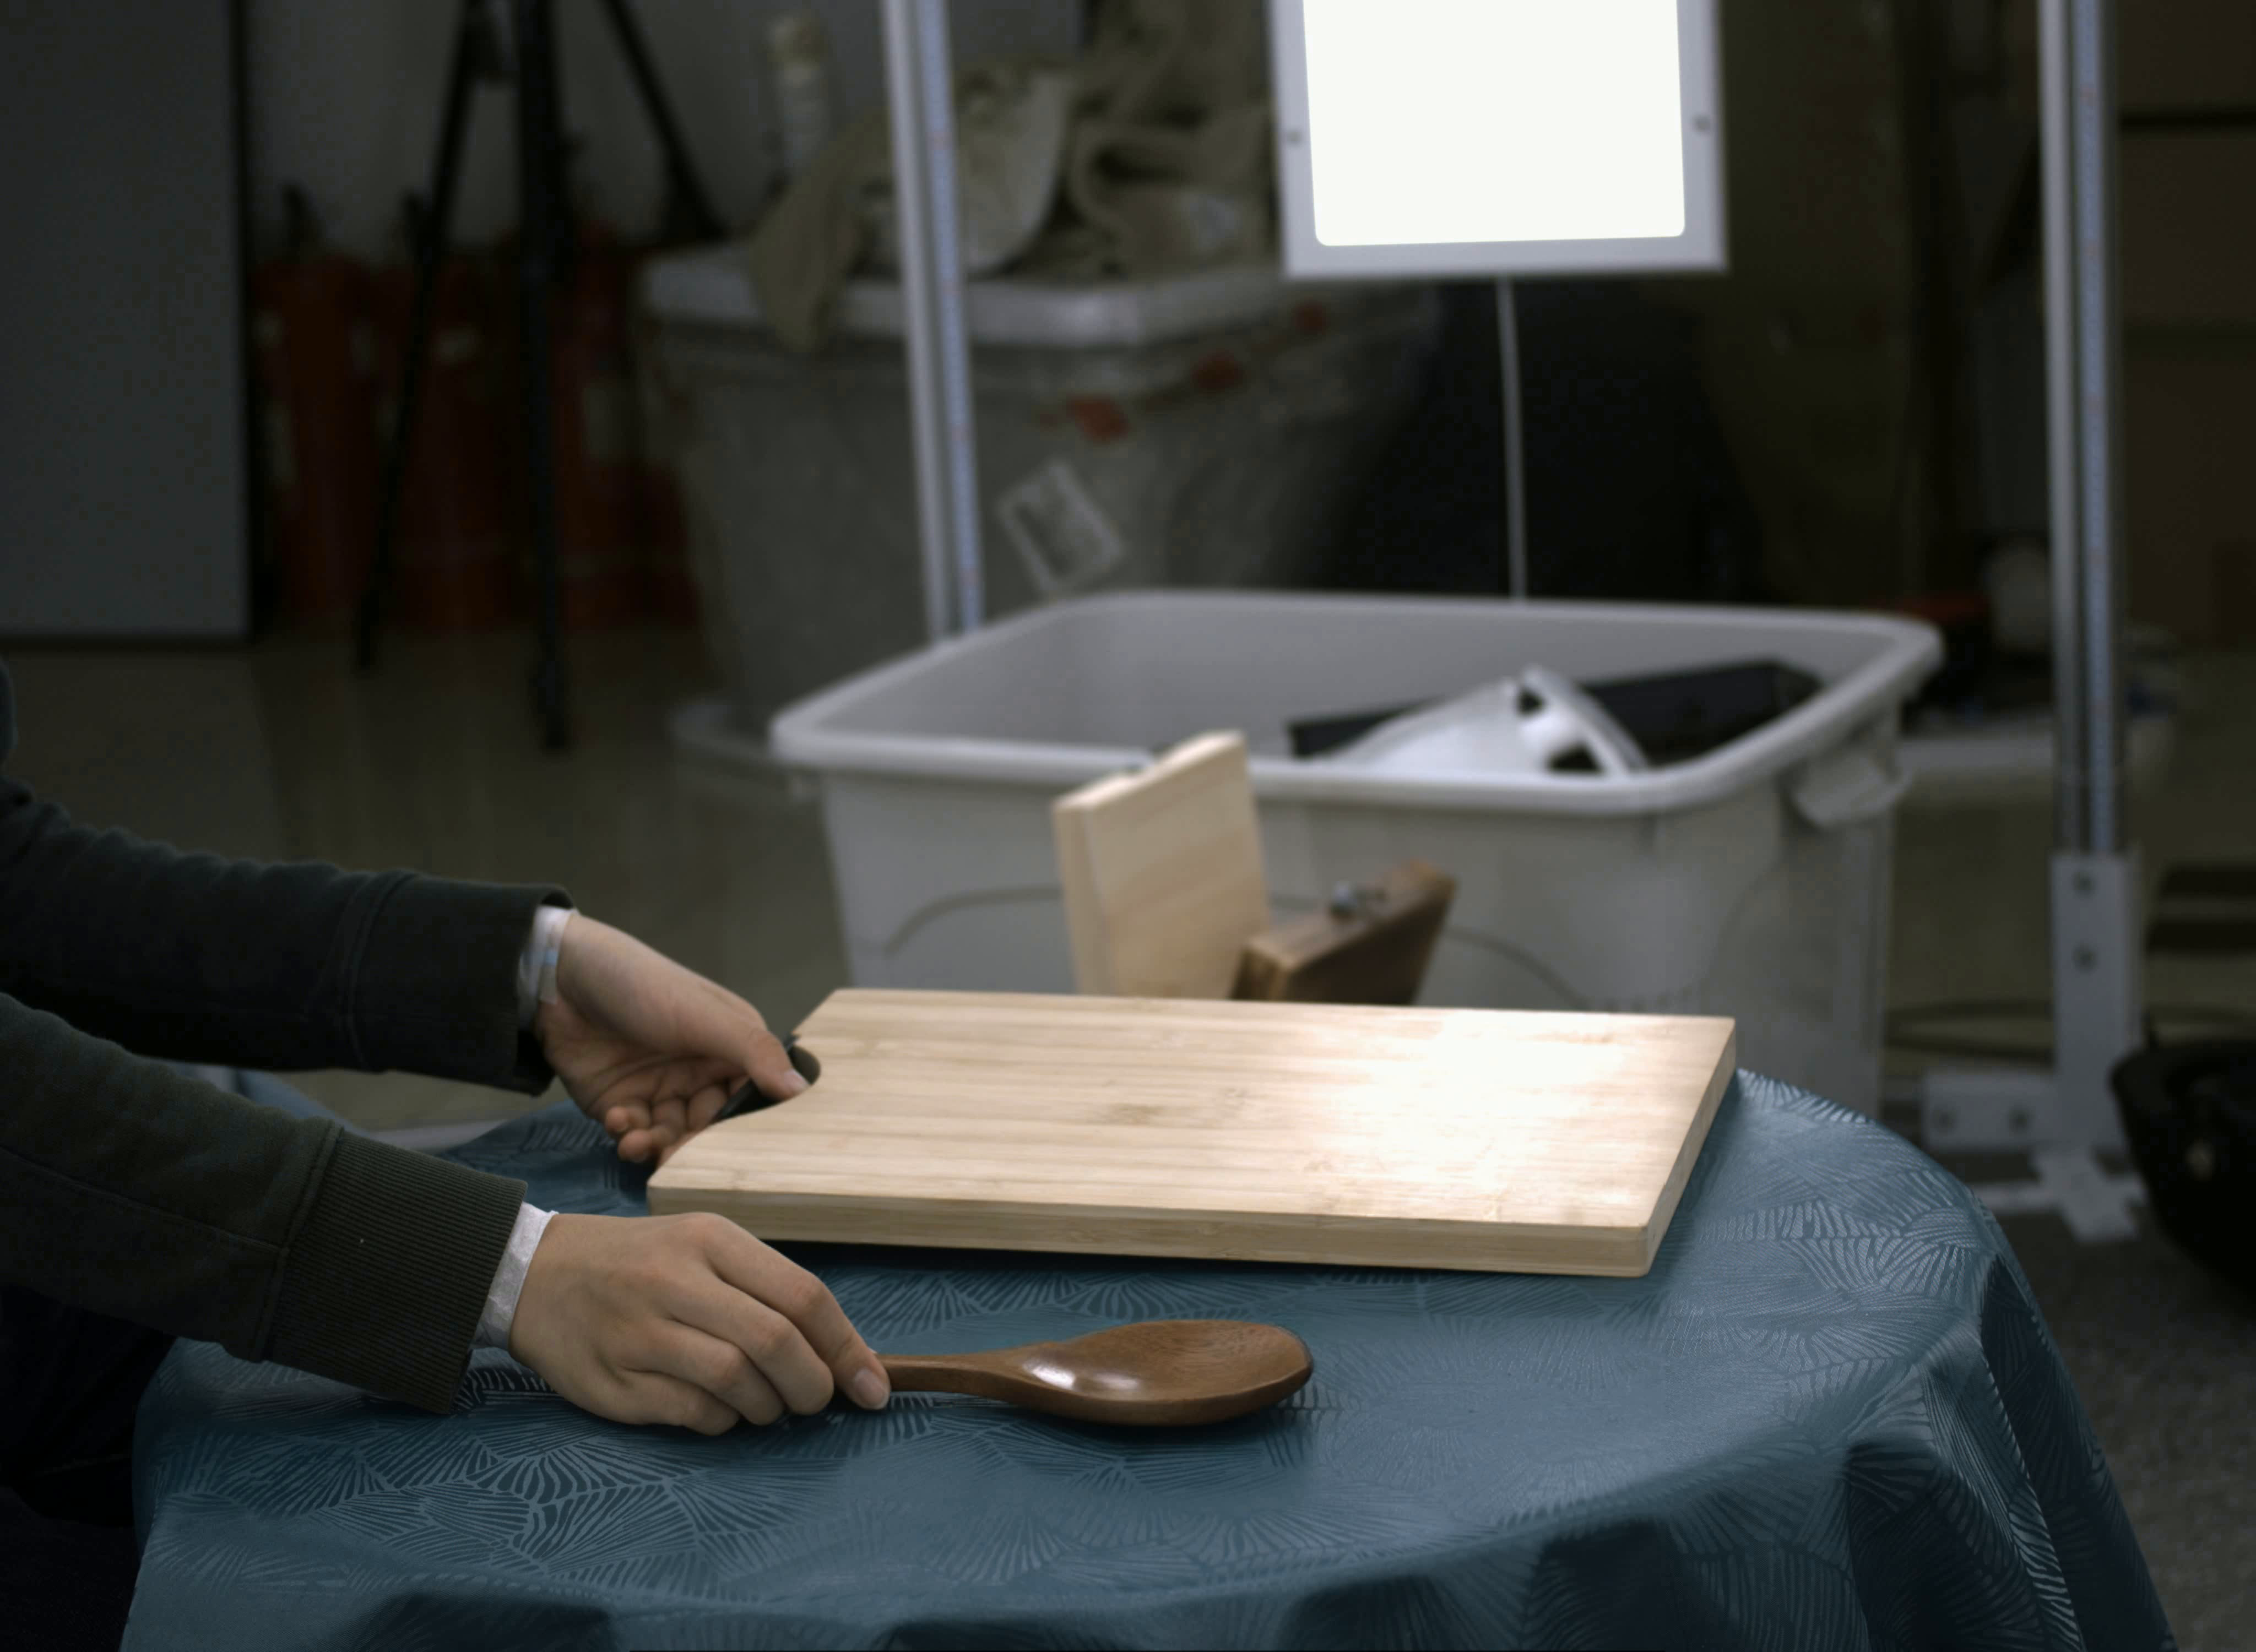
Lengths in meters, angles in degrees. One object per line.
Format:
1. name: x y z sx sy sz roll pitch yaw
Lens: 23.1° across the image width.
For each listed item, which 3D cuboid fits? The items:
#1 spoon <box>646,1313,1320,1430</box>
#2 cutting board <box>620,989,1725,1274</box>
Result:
1. spoon: -0.046 0.169 1.702 0.218 0.017 0.074 0 17 17
2. cutting board: 0.023 0.103 1.920 0.352 0.024 0.247 1 14 14
